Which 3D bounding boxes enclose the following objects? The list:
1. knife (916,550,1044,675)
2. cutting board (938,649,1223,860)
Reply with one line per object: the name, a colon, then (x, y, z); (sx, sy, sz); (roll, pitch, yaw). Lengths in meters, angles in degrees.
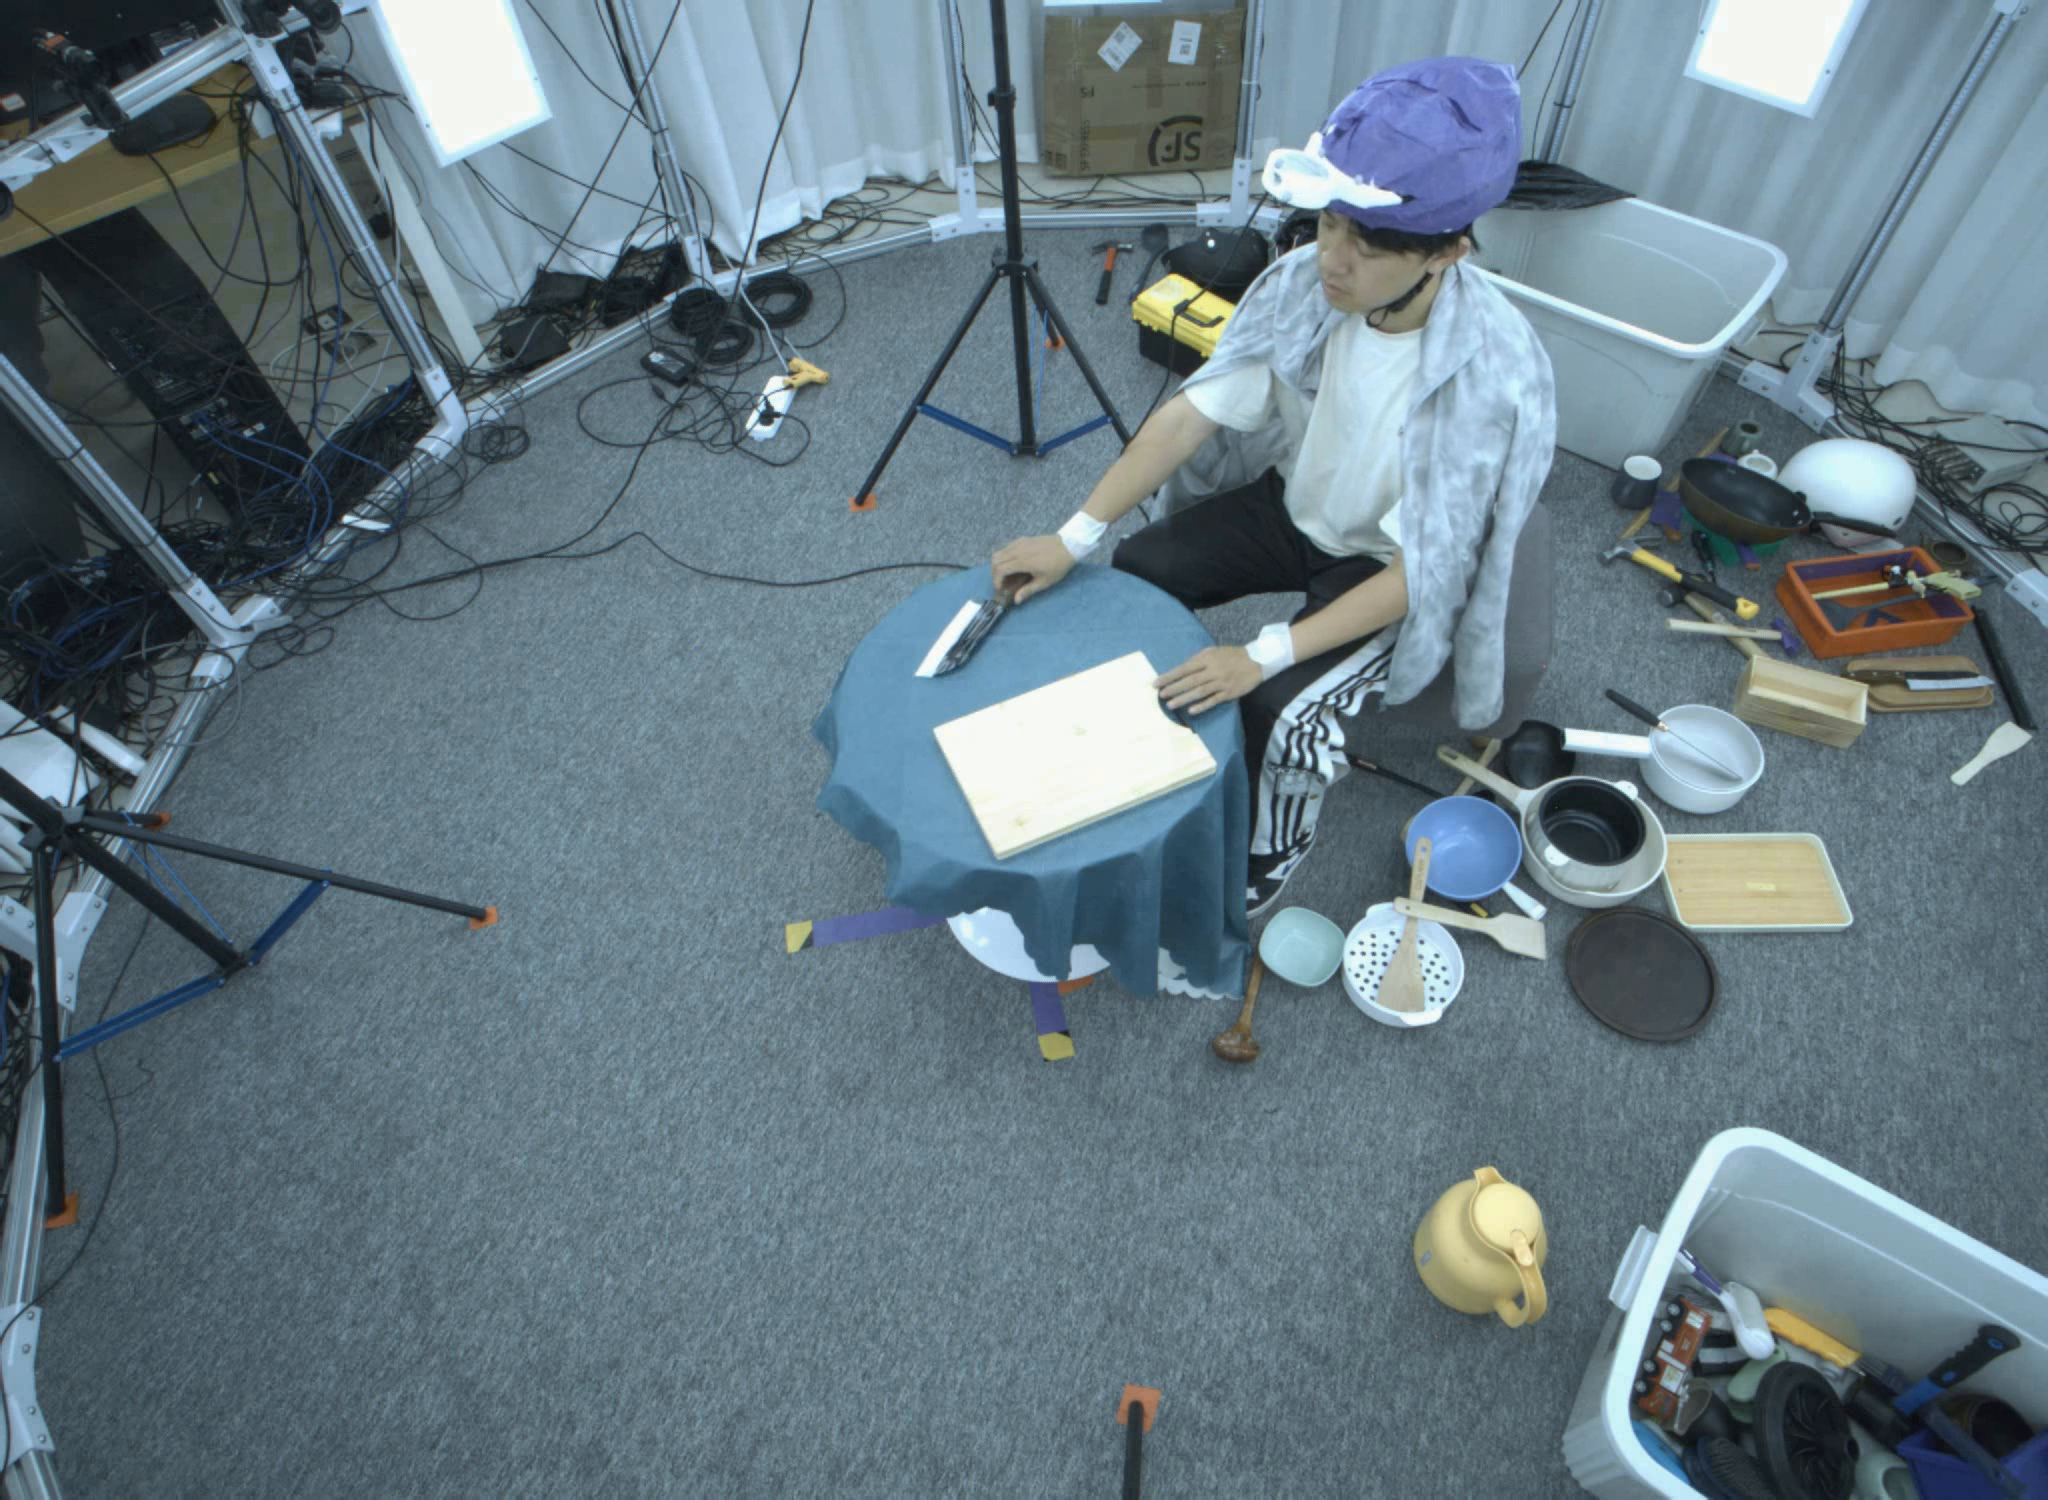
knife: (-0.068, -0.218, 1.934); (0.067, 0.024, 0.300); (23, 61, 25)
cutting board: (0.075, -0.002, 1.779); (0.351, 0.024, 0.246); (-22, 57, -13)
